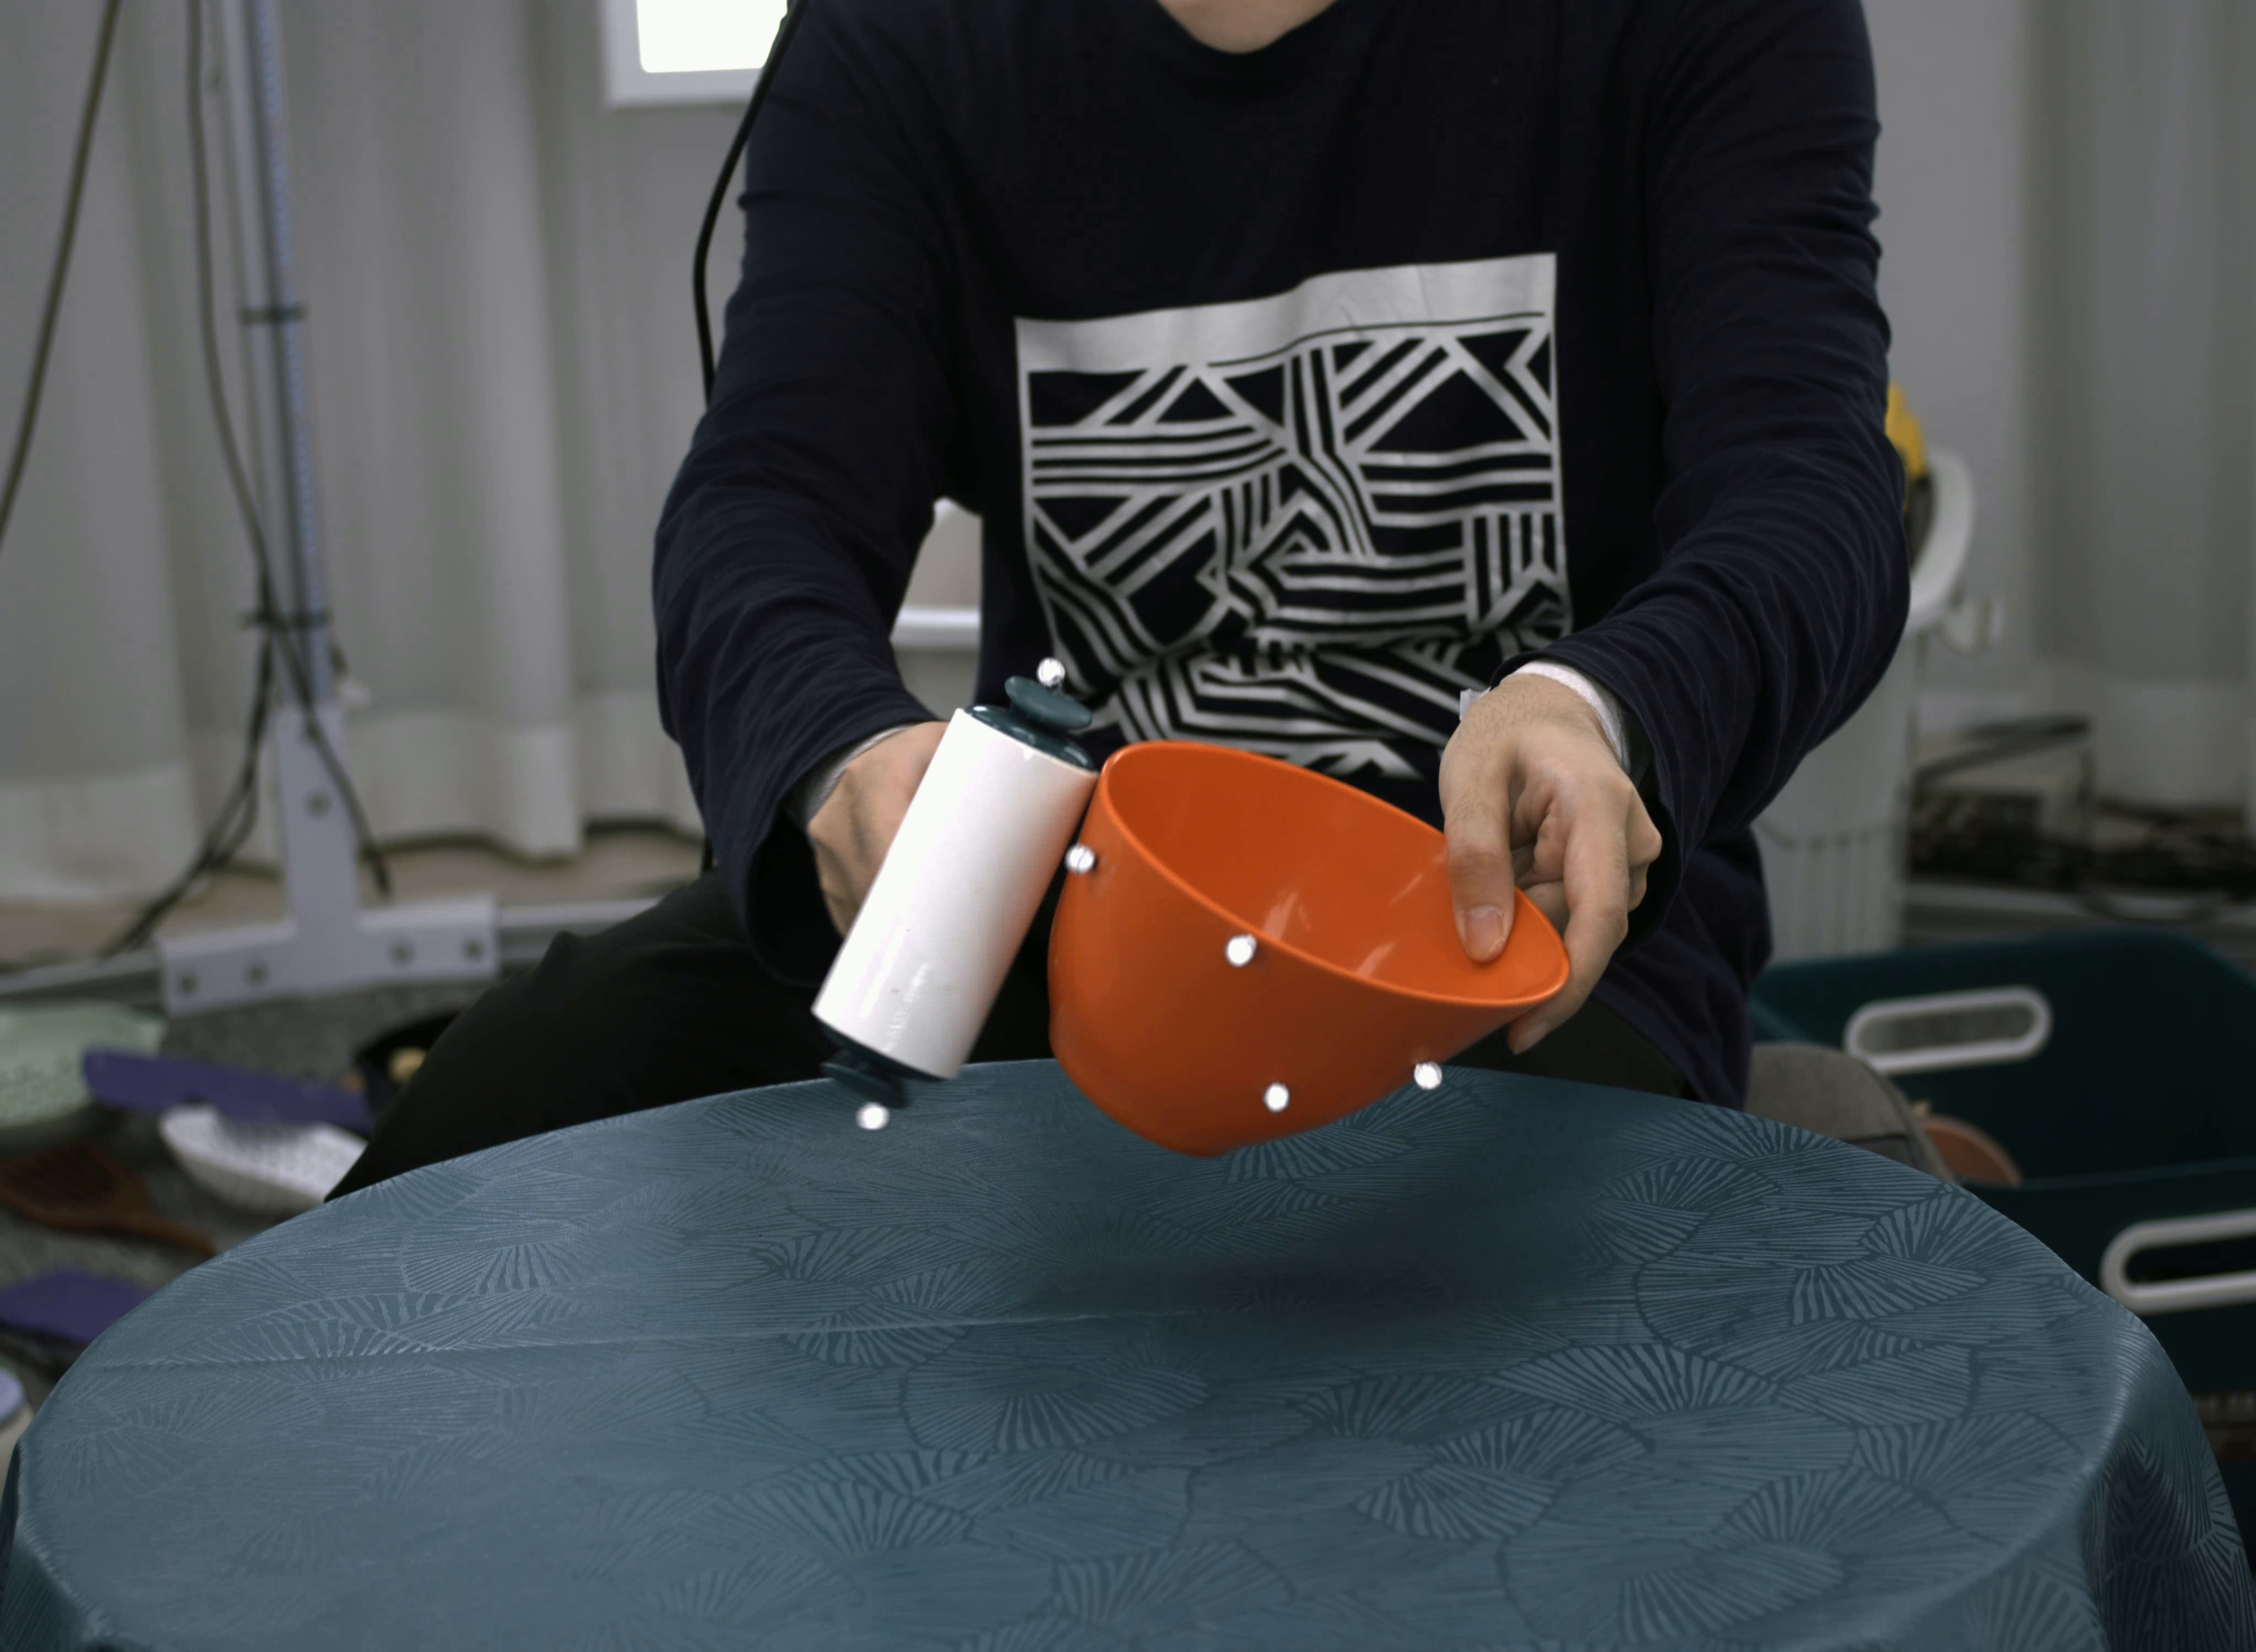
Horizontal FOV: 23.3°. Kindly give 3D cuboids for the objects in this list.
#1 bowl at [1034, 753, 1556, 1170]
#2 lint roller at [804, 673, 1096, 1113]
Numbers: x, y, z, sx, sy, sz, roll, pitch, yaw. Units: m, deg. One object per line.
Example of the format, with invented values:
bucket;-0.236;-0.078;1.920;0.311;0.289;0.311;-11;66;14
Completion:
bowl;0.036;0.048;1.605;0.147;0.104;0.149;29;21;-12
lint roller;-0.058;0.014;1.667;0.048;0.134;0.180;27;2;-8
